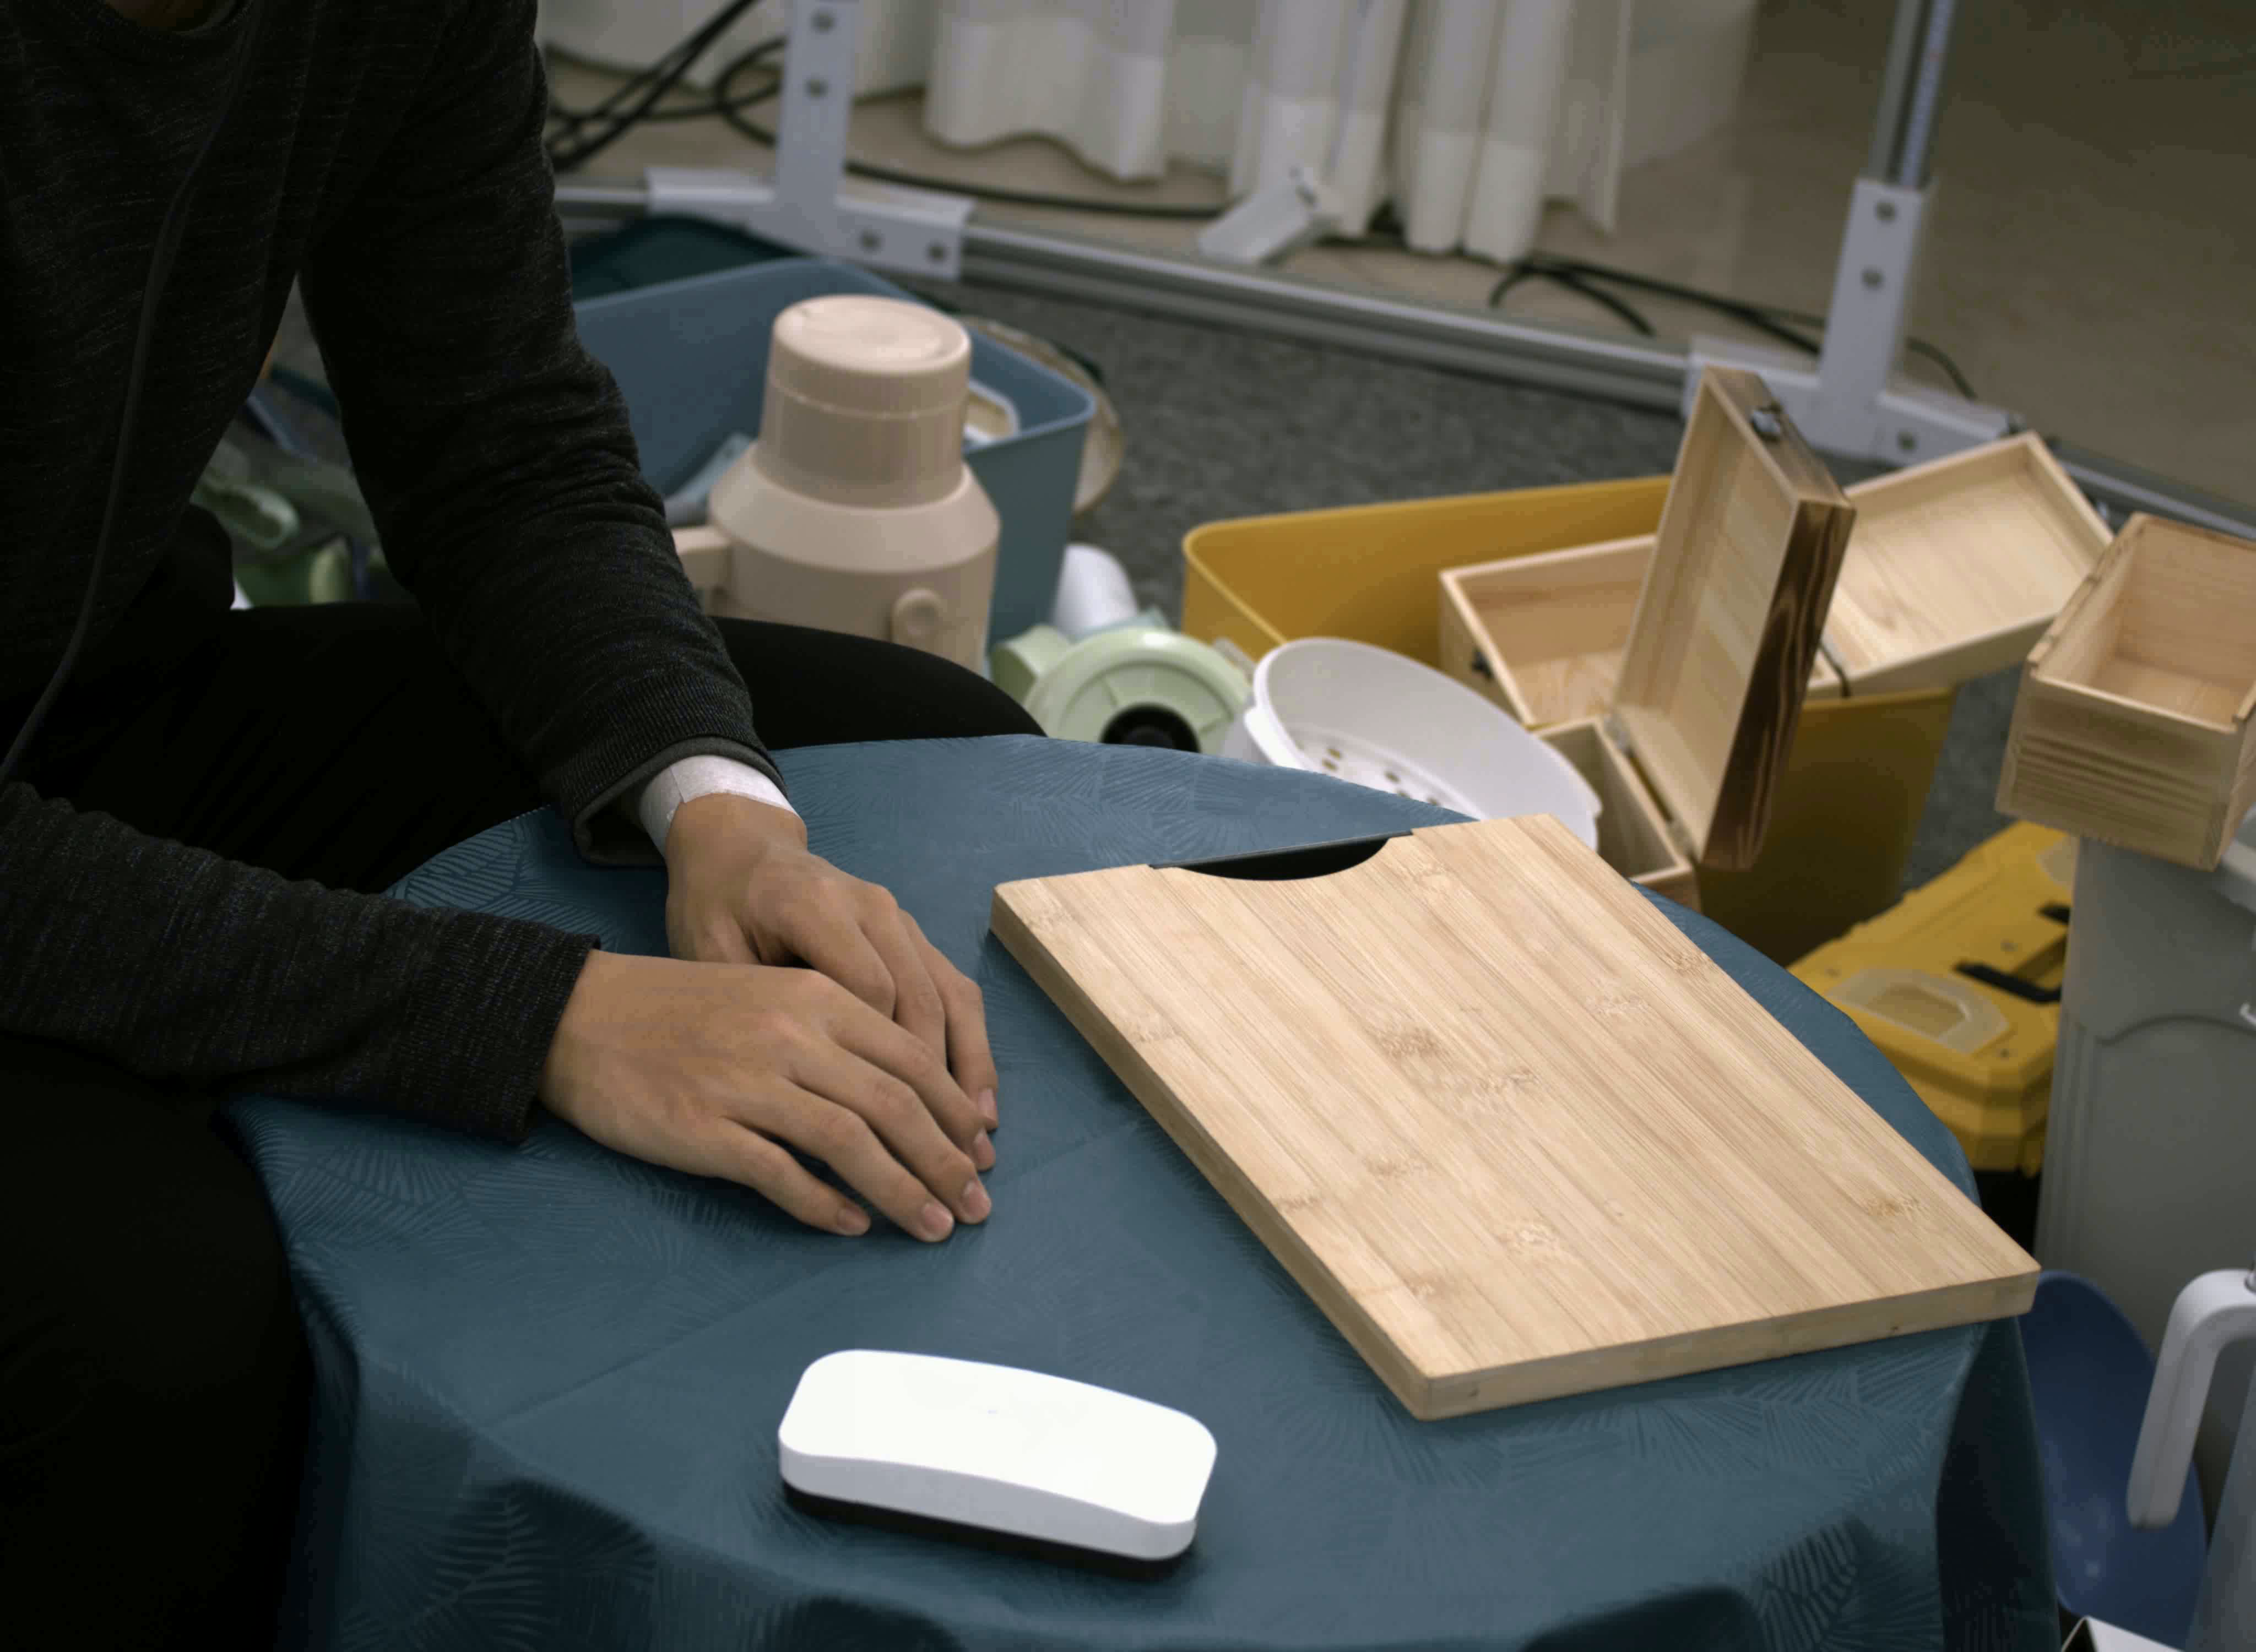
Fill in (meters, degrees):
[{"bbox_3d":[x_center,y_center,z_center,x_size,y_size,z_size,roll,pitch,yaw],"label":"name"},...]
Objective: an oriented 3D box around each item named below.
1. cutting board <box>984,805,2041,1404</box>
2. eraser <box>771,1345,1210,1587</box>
[{"bbox_3d":[0.126,0.091,1.877,0.249,0.023,0.352,-7,30,-26],"label":"cutting board"},{"bbox_3d":[-0.042,0.193,1.622,0.131,0.034,0.063,12,28,8],"label":"eraser"}]
